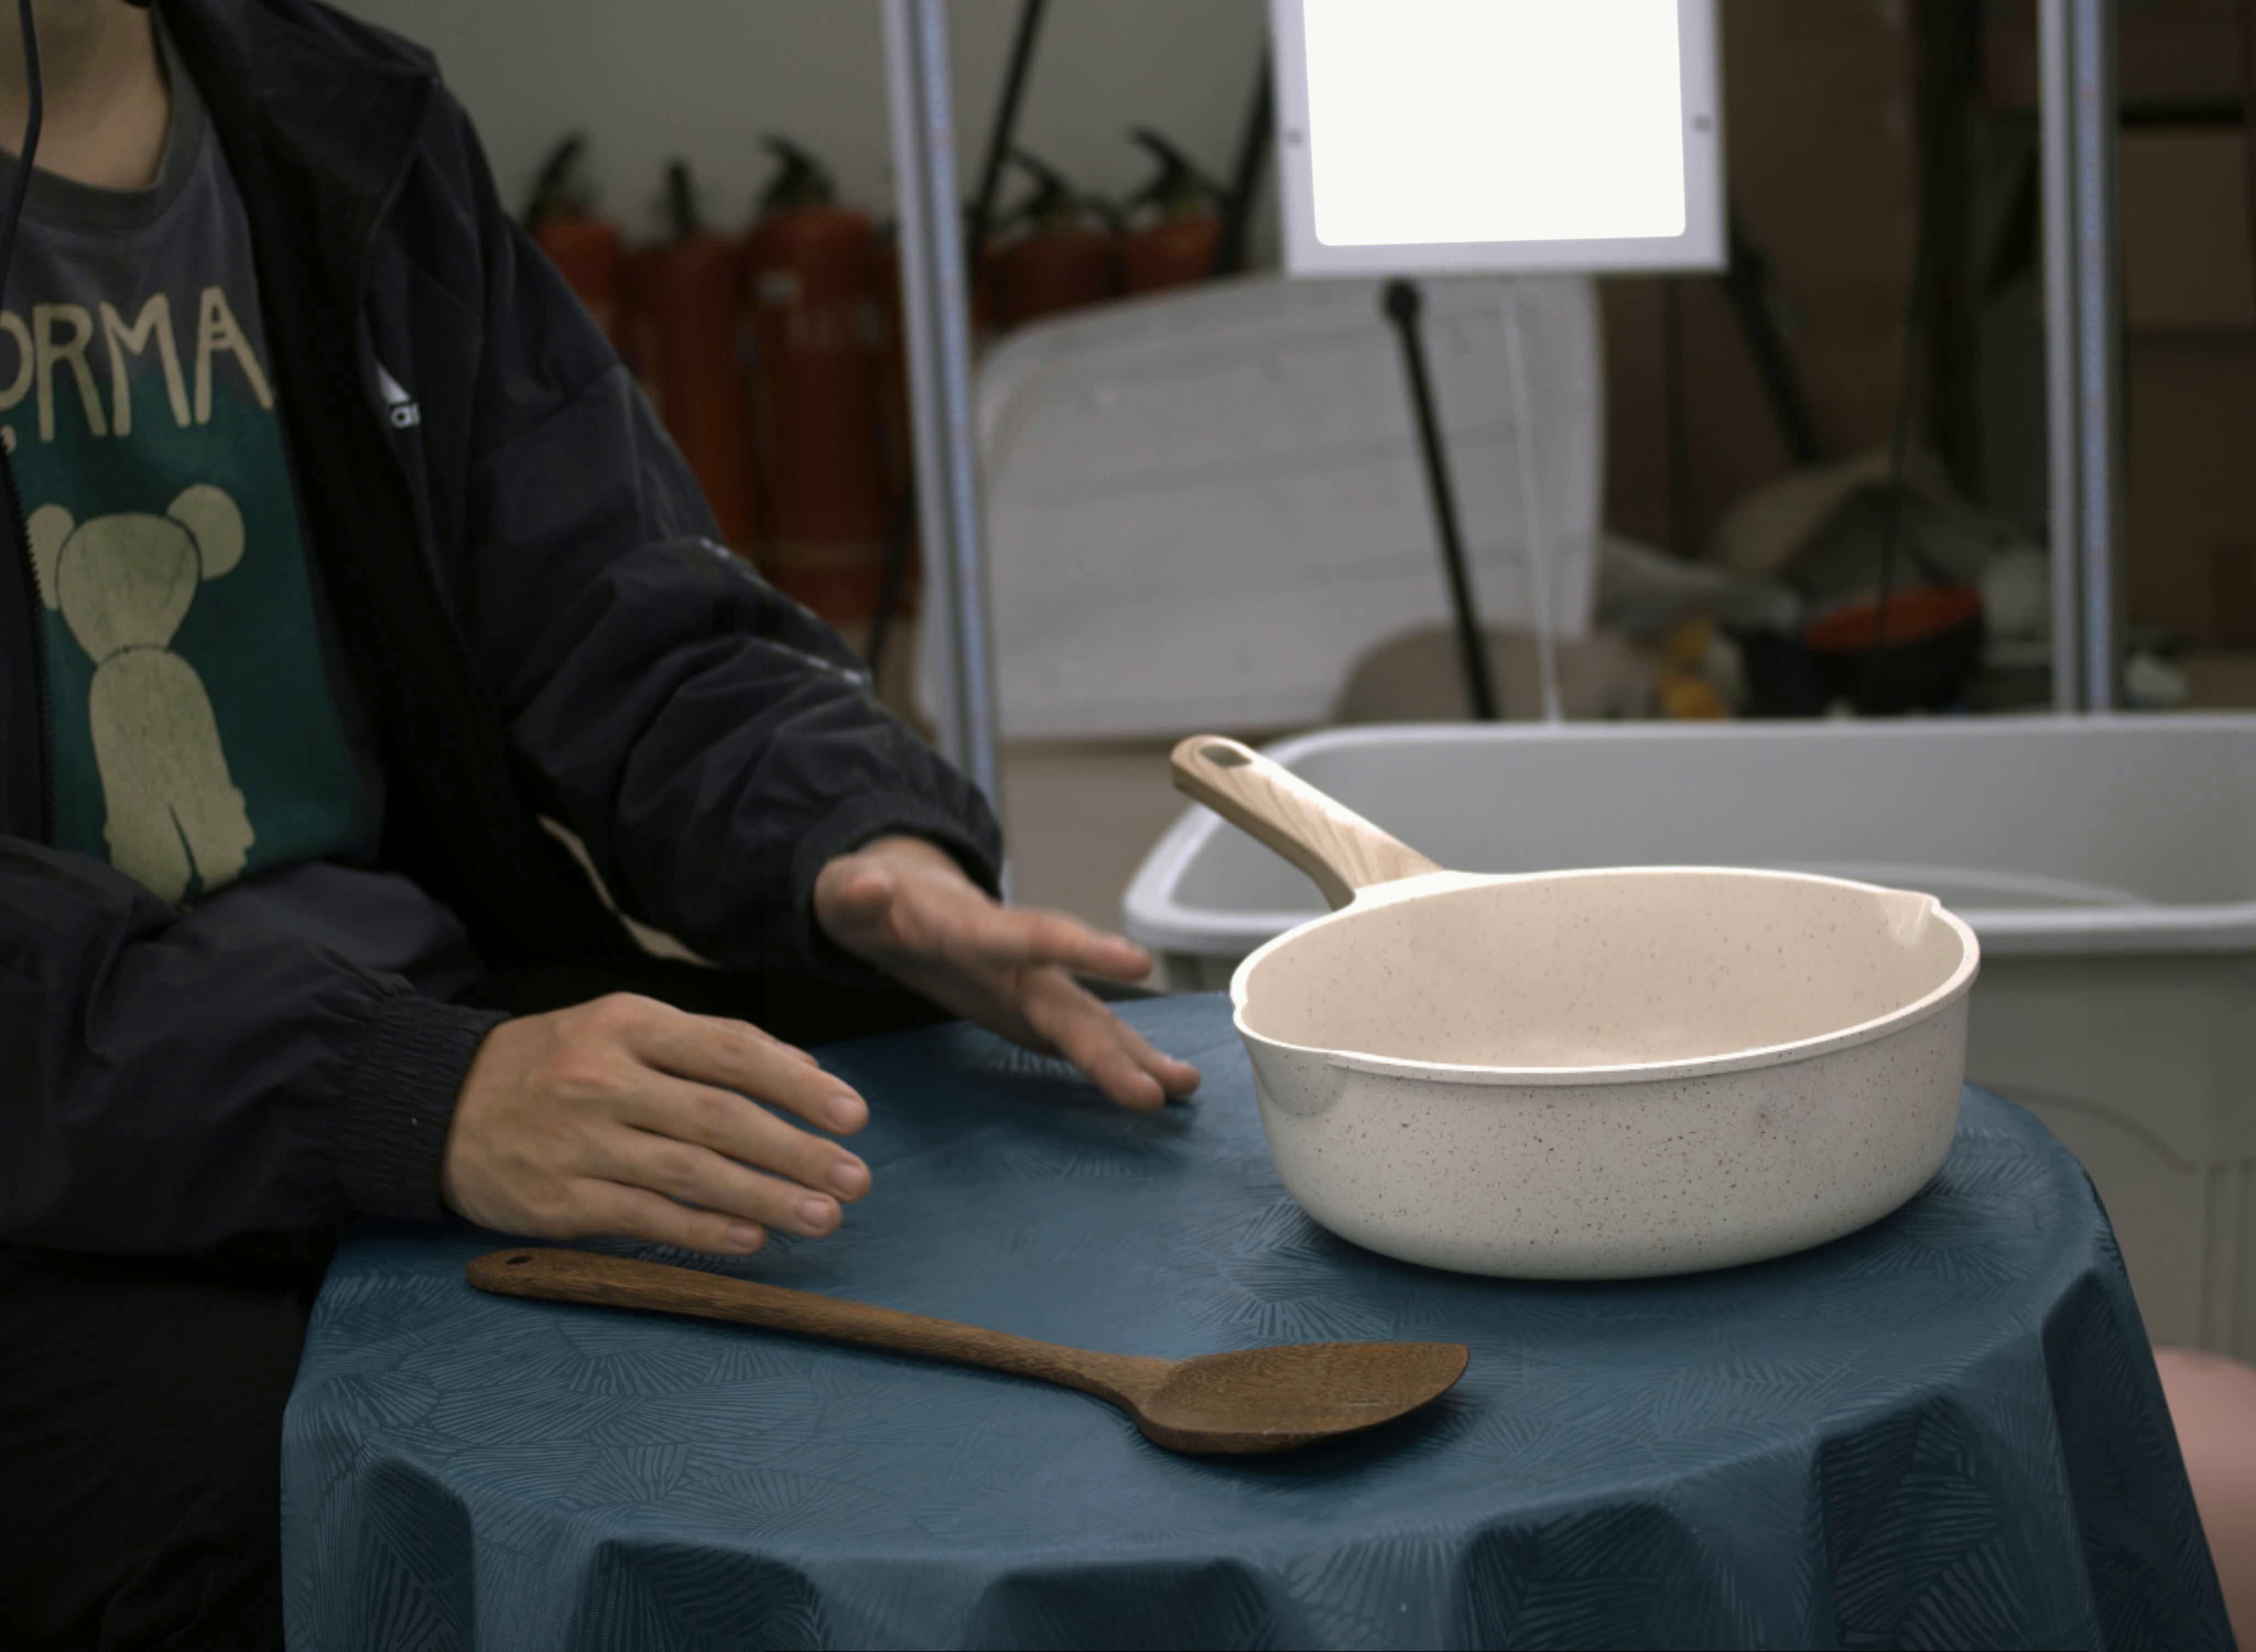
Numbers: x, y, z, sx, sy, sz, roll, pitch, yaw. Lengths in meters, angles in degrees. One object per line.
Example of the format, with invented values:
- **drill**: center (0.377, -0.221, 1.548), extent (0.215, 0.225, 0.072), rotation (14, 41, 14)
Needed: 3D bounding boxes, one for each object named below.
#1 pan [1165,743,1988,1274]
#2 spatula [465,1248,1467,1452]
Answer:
- **pan**: center (0.126, 0.057, 1.922), extent (0.258, 0.102, 0.441), rotation (-13, 16, -22)
- **spatula**: center (-0.067, 0.161, 1.750), extent (0.394, 0.016, 0.094), rotation (5, 16, 38)
